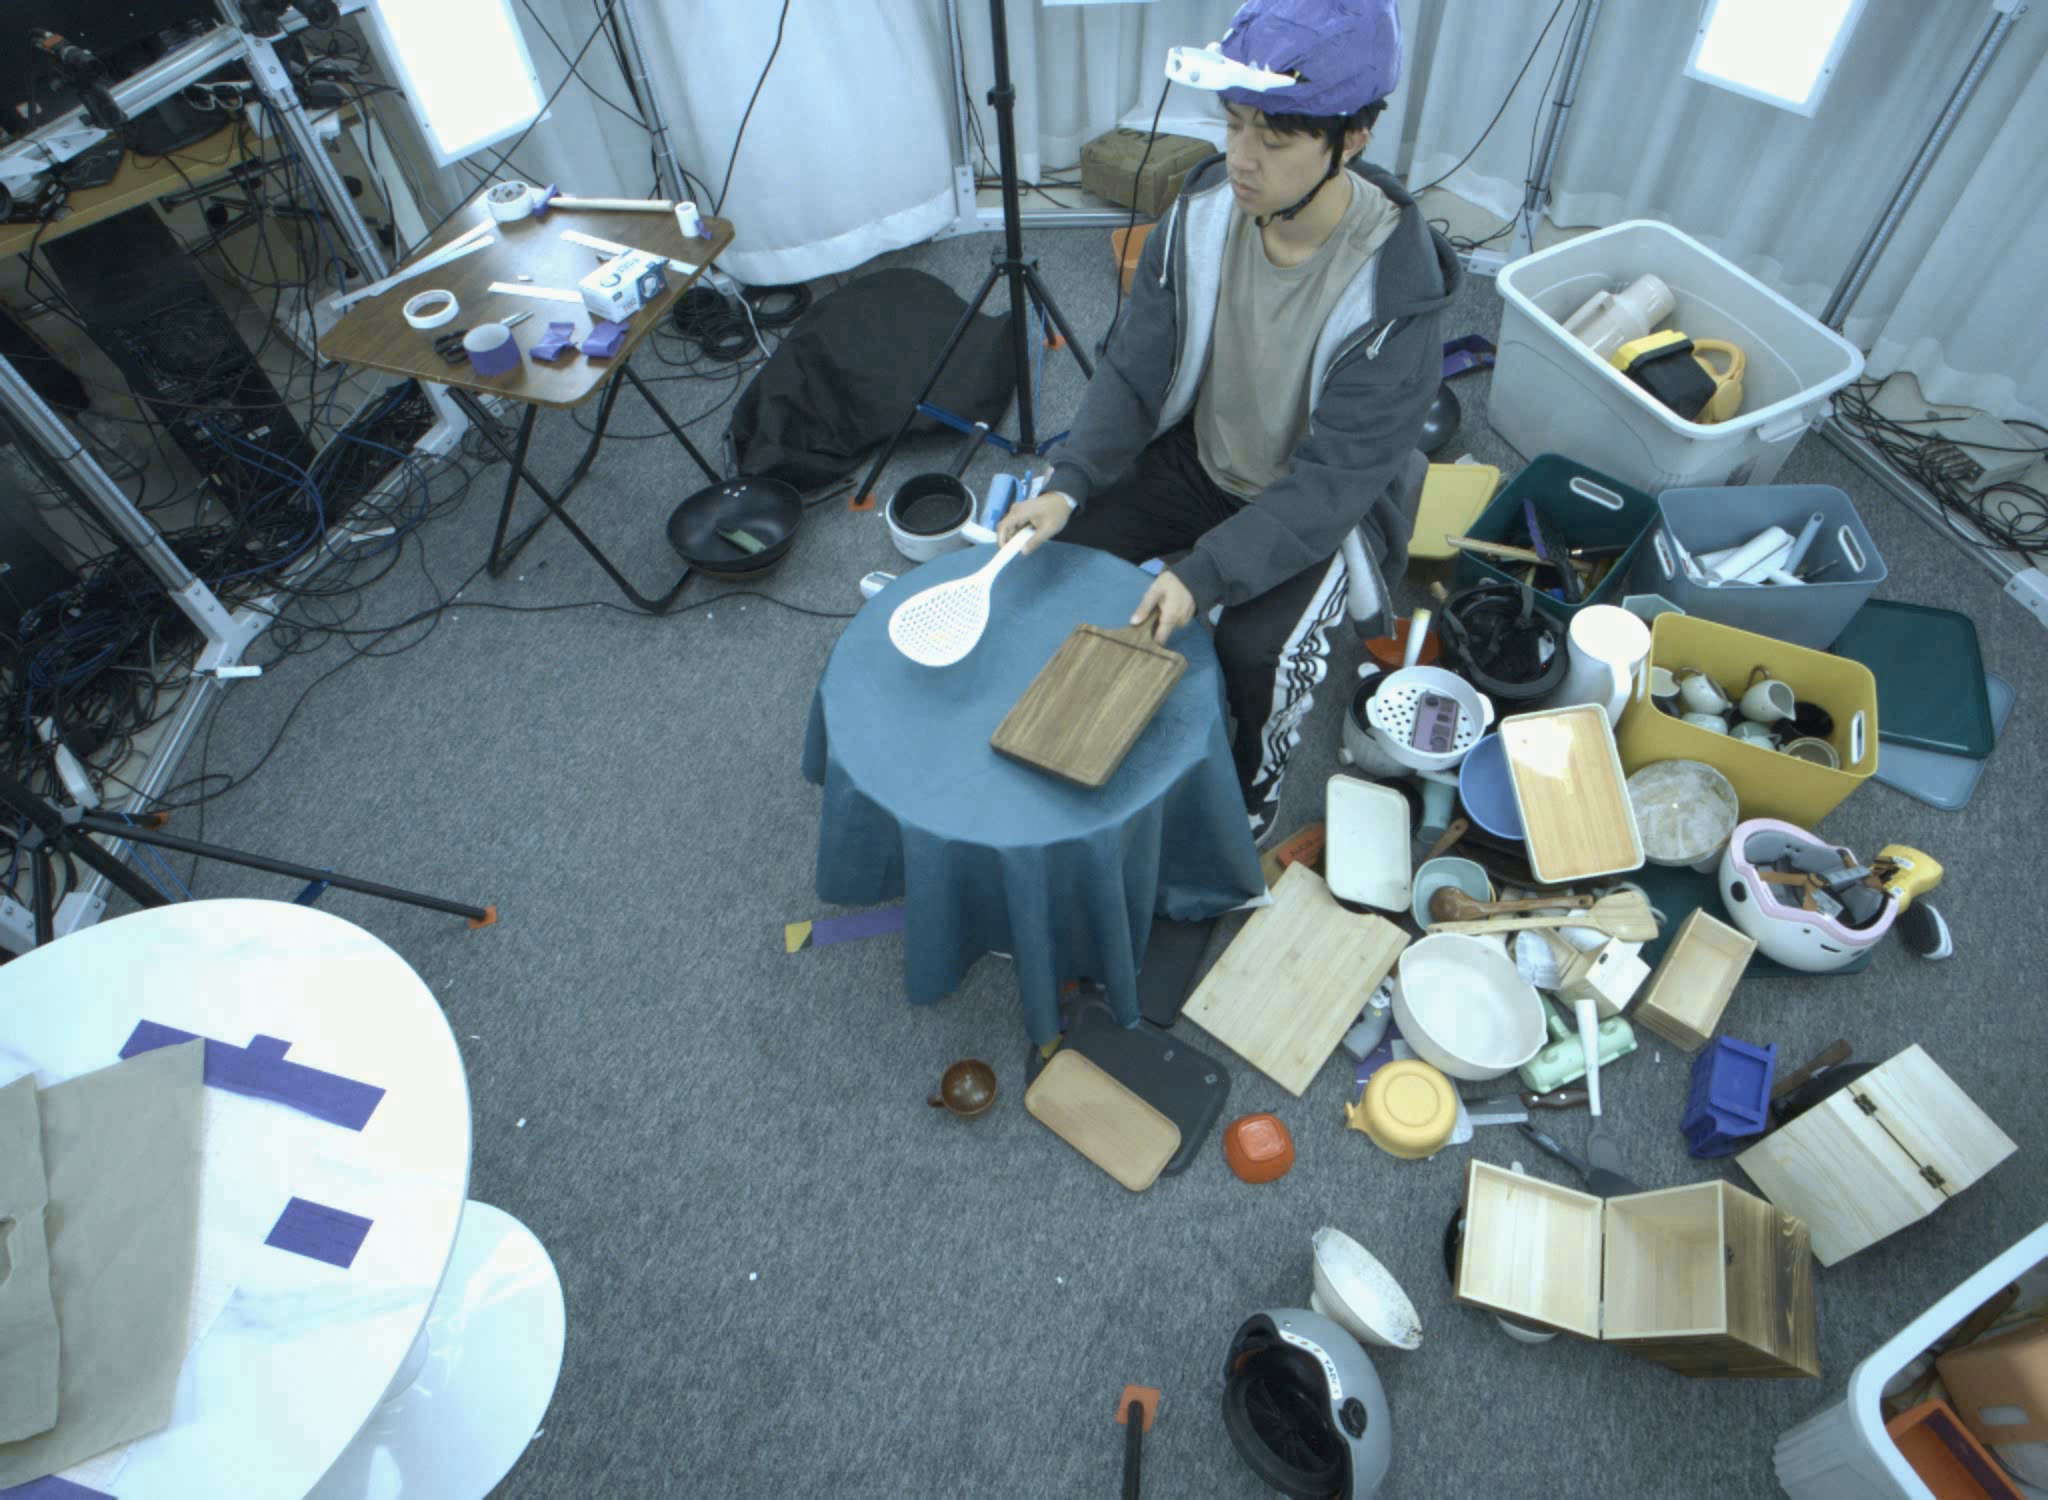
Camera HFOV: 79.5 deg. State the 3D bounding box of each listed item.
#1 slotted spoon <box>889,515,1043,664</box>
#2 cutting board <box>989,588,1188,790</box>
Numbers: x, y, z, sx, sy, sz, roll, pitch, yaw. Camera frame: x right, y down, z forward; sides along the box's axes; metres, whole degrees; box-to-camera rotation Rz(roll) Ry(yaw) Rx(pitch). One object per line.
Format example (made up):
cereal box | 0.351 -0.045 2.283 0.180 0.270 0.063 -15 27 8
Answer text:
slotted spoon | -0.068 -0.256 1.885 0.135 0.051 0.349 32 67 15
cutting board | 0.120 -0.107 1.795 0.197 0.023 0.353 22 64 31
